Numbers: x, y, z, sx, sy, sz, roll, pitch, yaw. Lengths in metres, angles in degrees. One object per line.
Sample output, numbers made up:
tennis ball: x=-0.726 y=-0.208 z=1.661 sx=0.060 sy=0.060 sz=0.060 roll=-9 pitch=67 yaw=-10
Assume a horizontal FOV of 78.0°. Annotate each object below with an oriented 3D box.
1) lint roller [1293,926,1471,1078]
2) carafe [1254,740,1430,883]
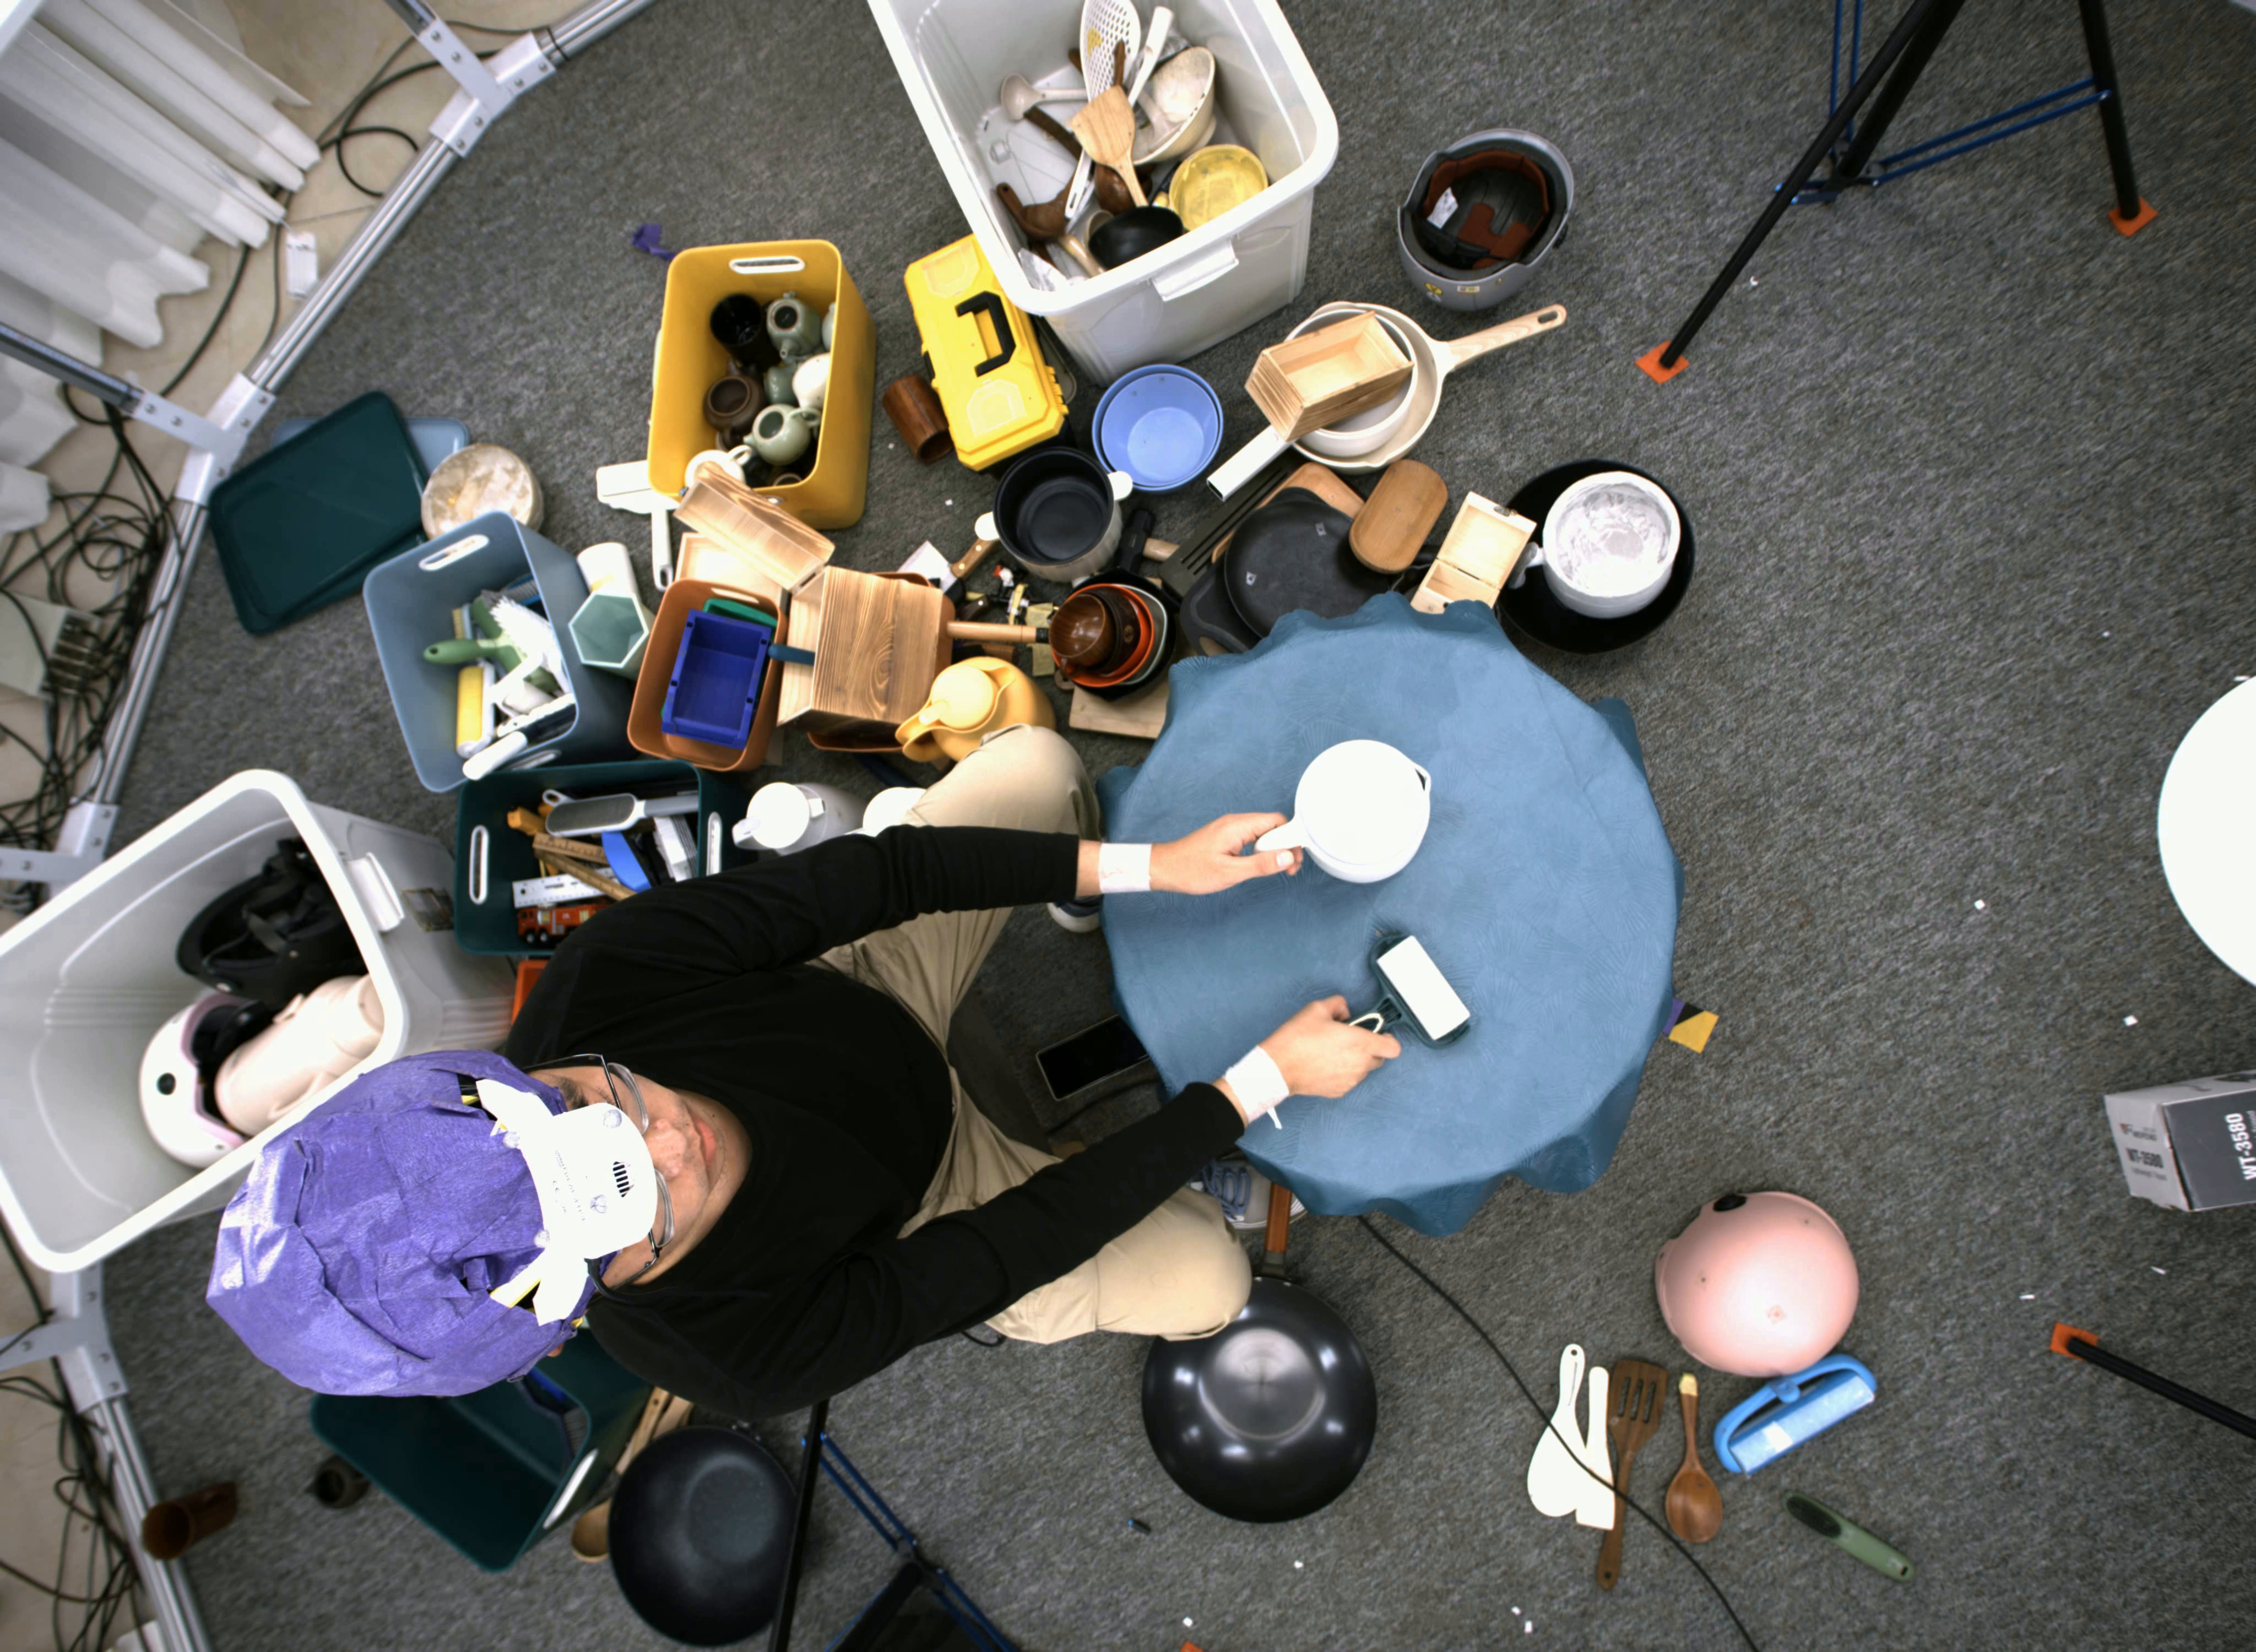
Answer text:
lint roller: x=0.249 y=0.203 z=1.421 sx=0.180 sy=0.048 sz=0.133 roll=-32 pitch=81 yaw=-2
carafe: x=0.213 y=-0.004 z=1.388 sx=0.192 sy=0.182 sz=0.131 roll=-25 pitch=81 yaw=10
